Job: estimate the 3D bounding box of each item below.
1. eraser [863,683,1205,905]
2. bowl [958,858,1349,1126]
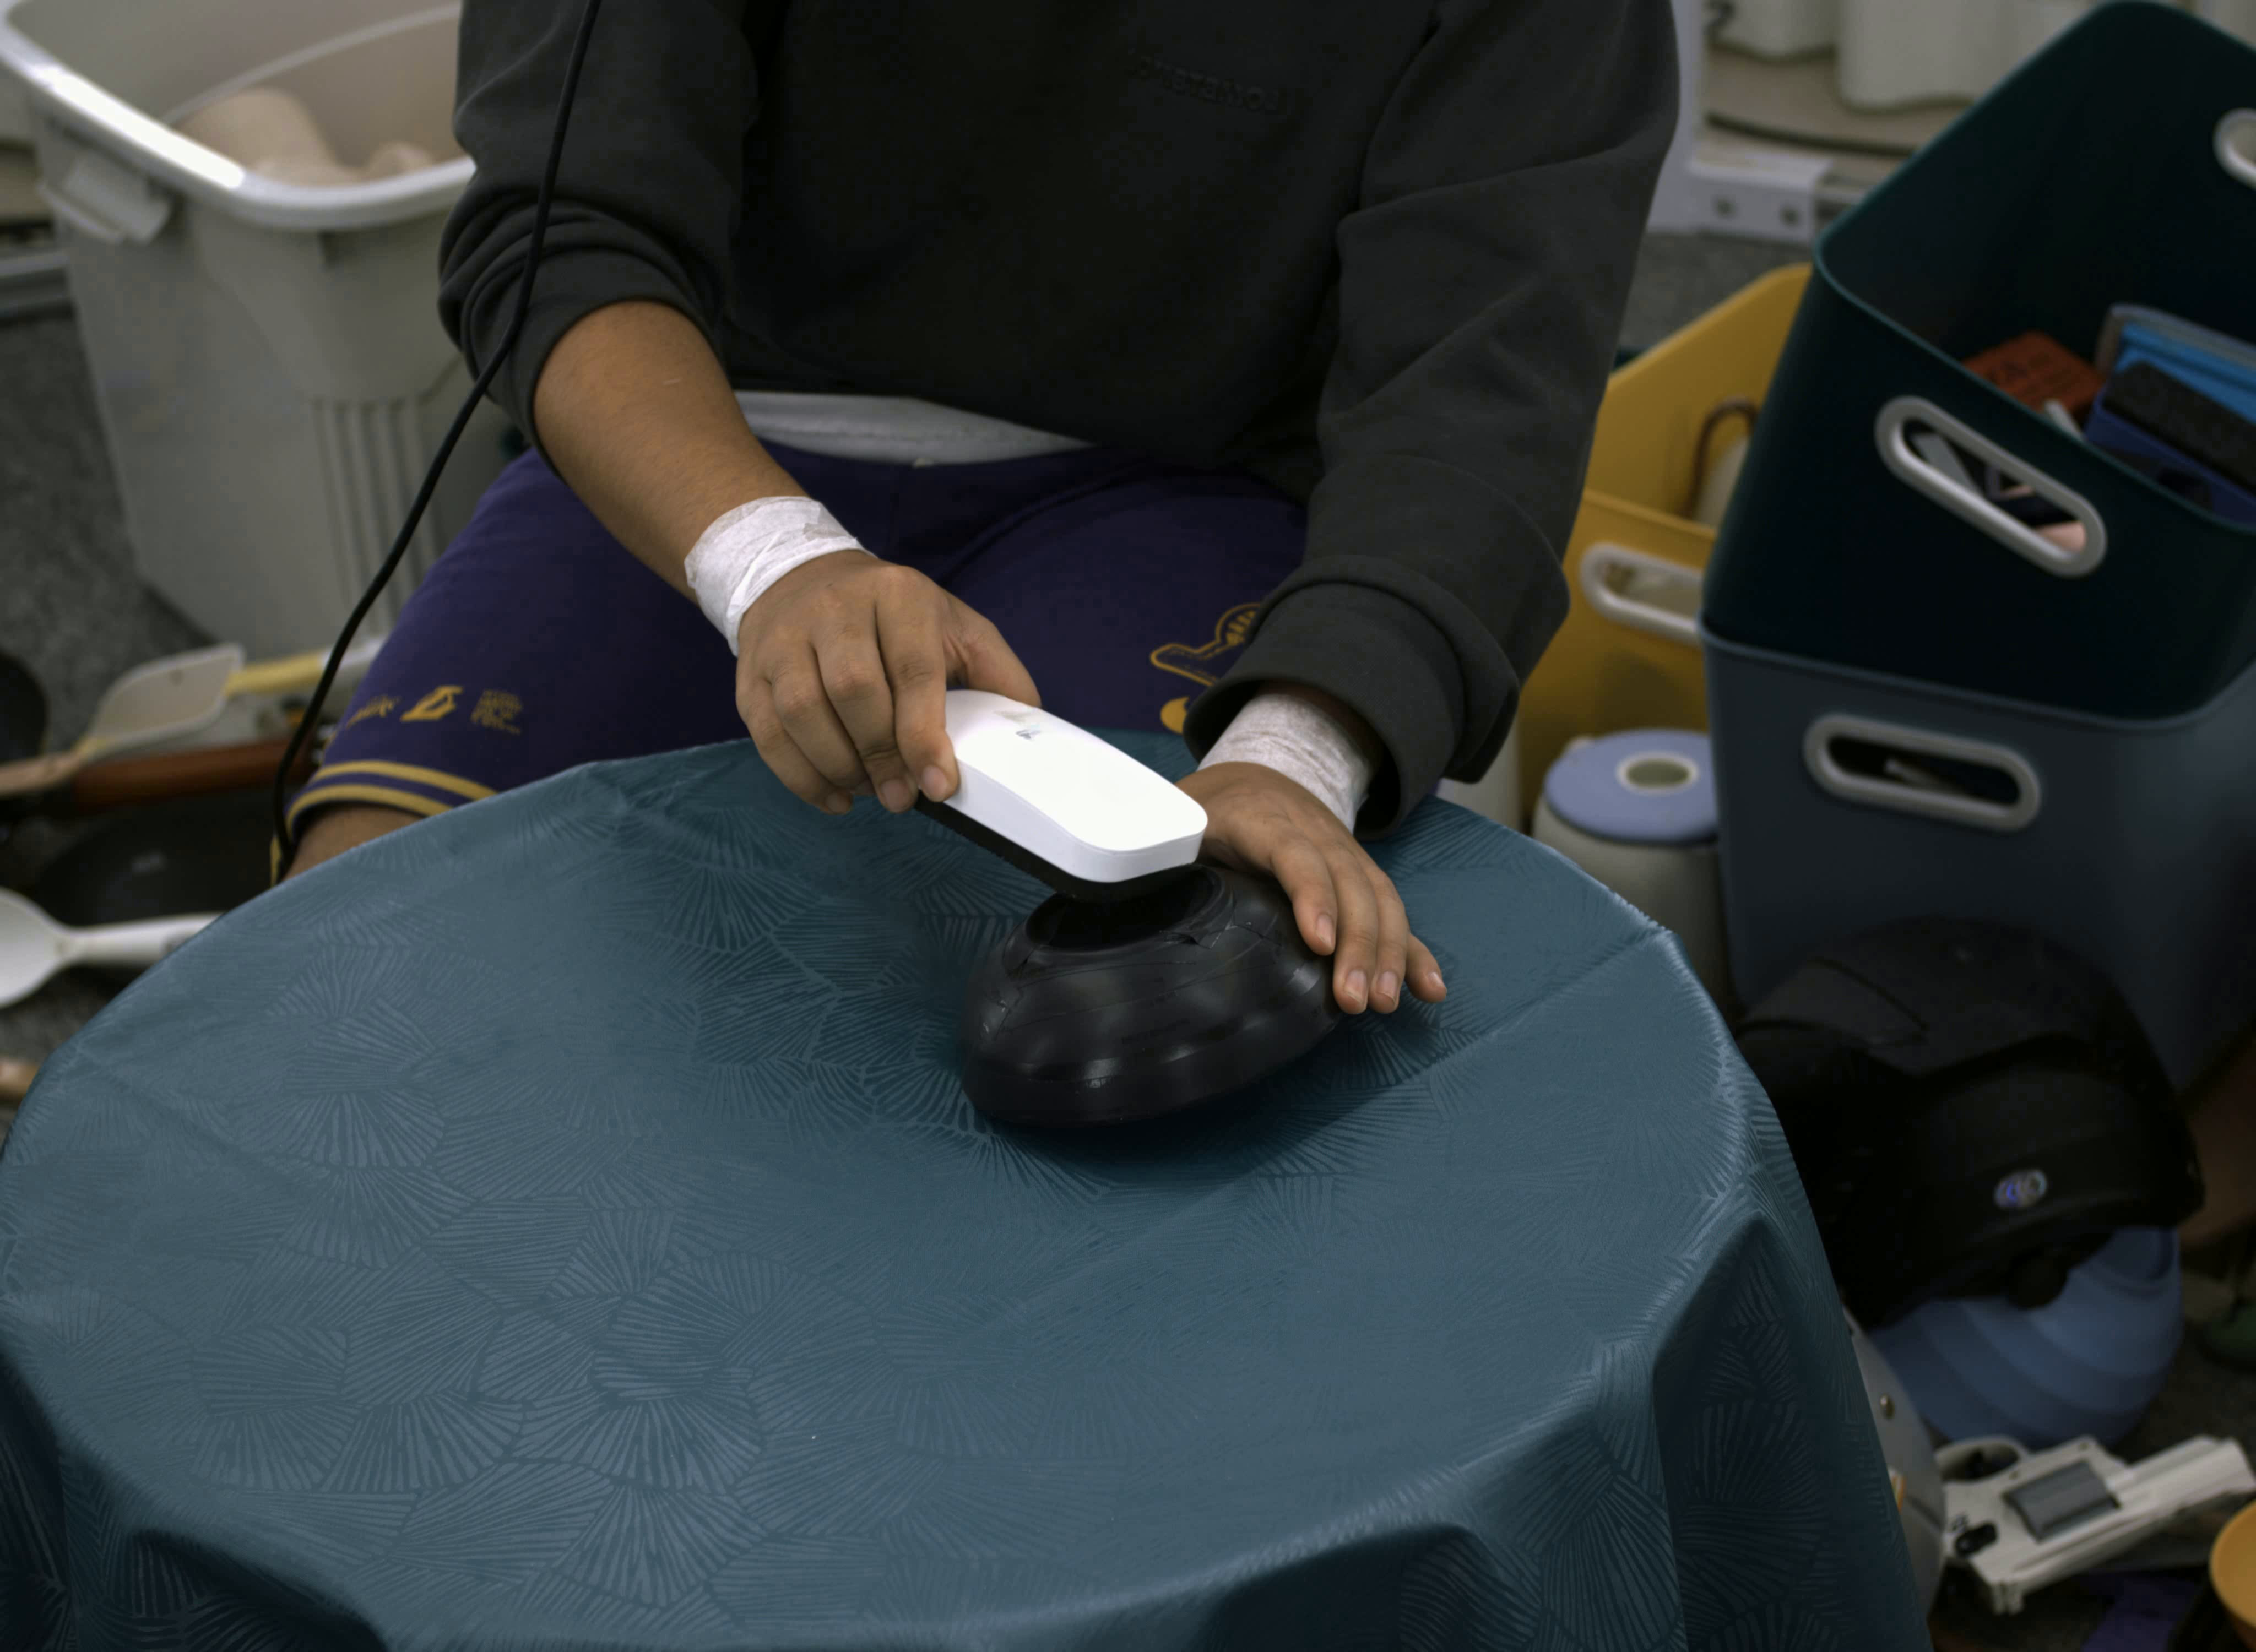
[{"bbox_3d":[-0.033,-0.015,1.943,0.064,0.034,0.131,-10,32,-42],"label":"eraser"},{"bbox_3d":[0.003,0.048,1.919,0.139,0.049,0.142,-14,22,6],"label":"bowl"}]
